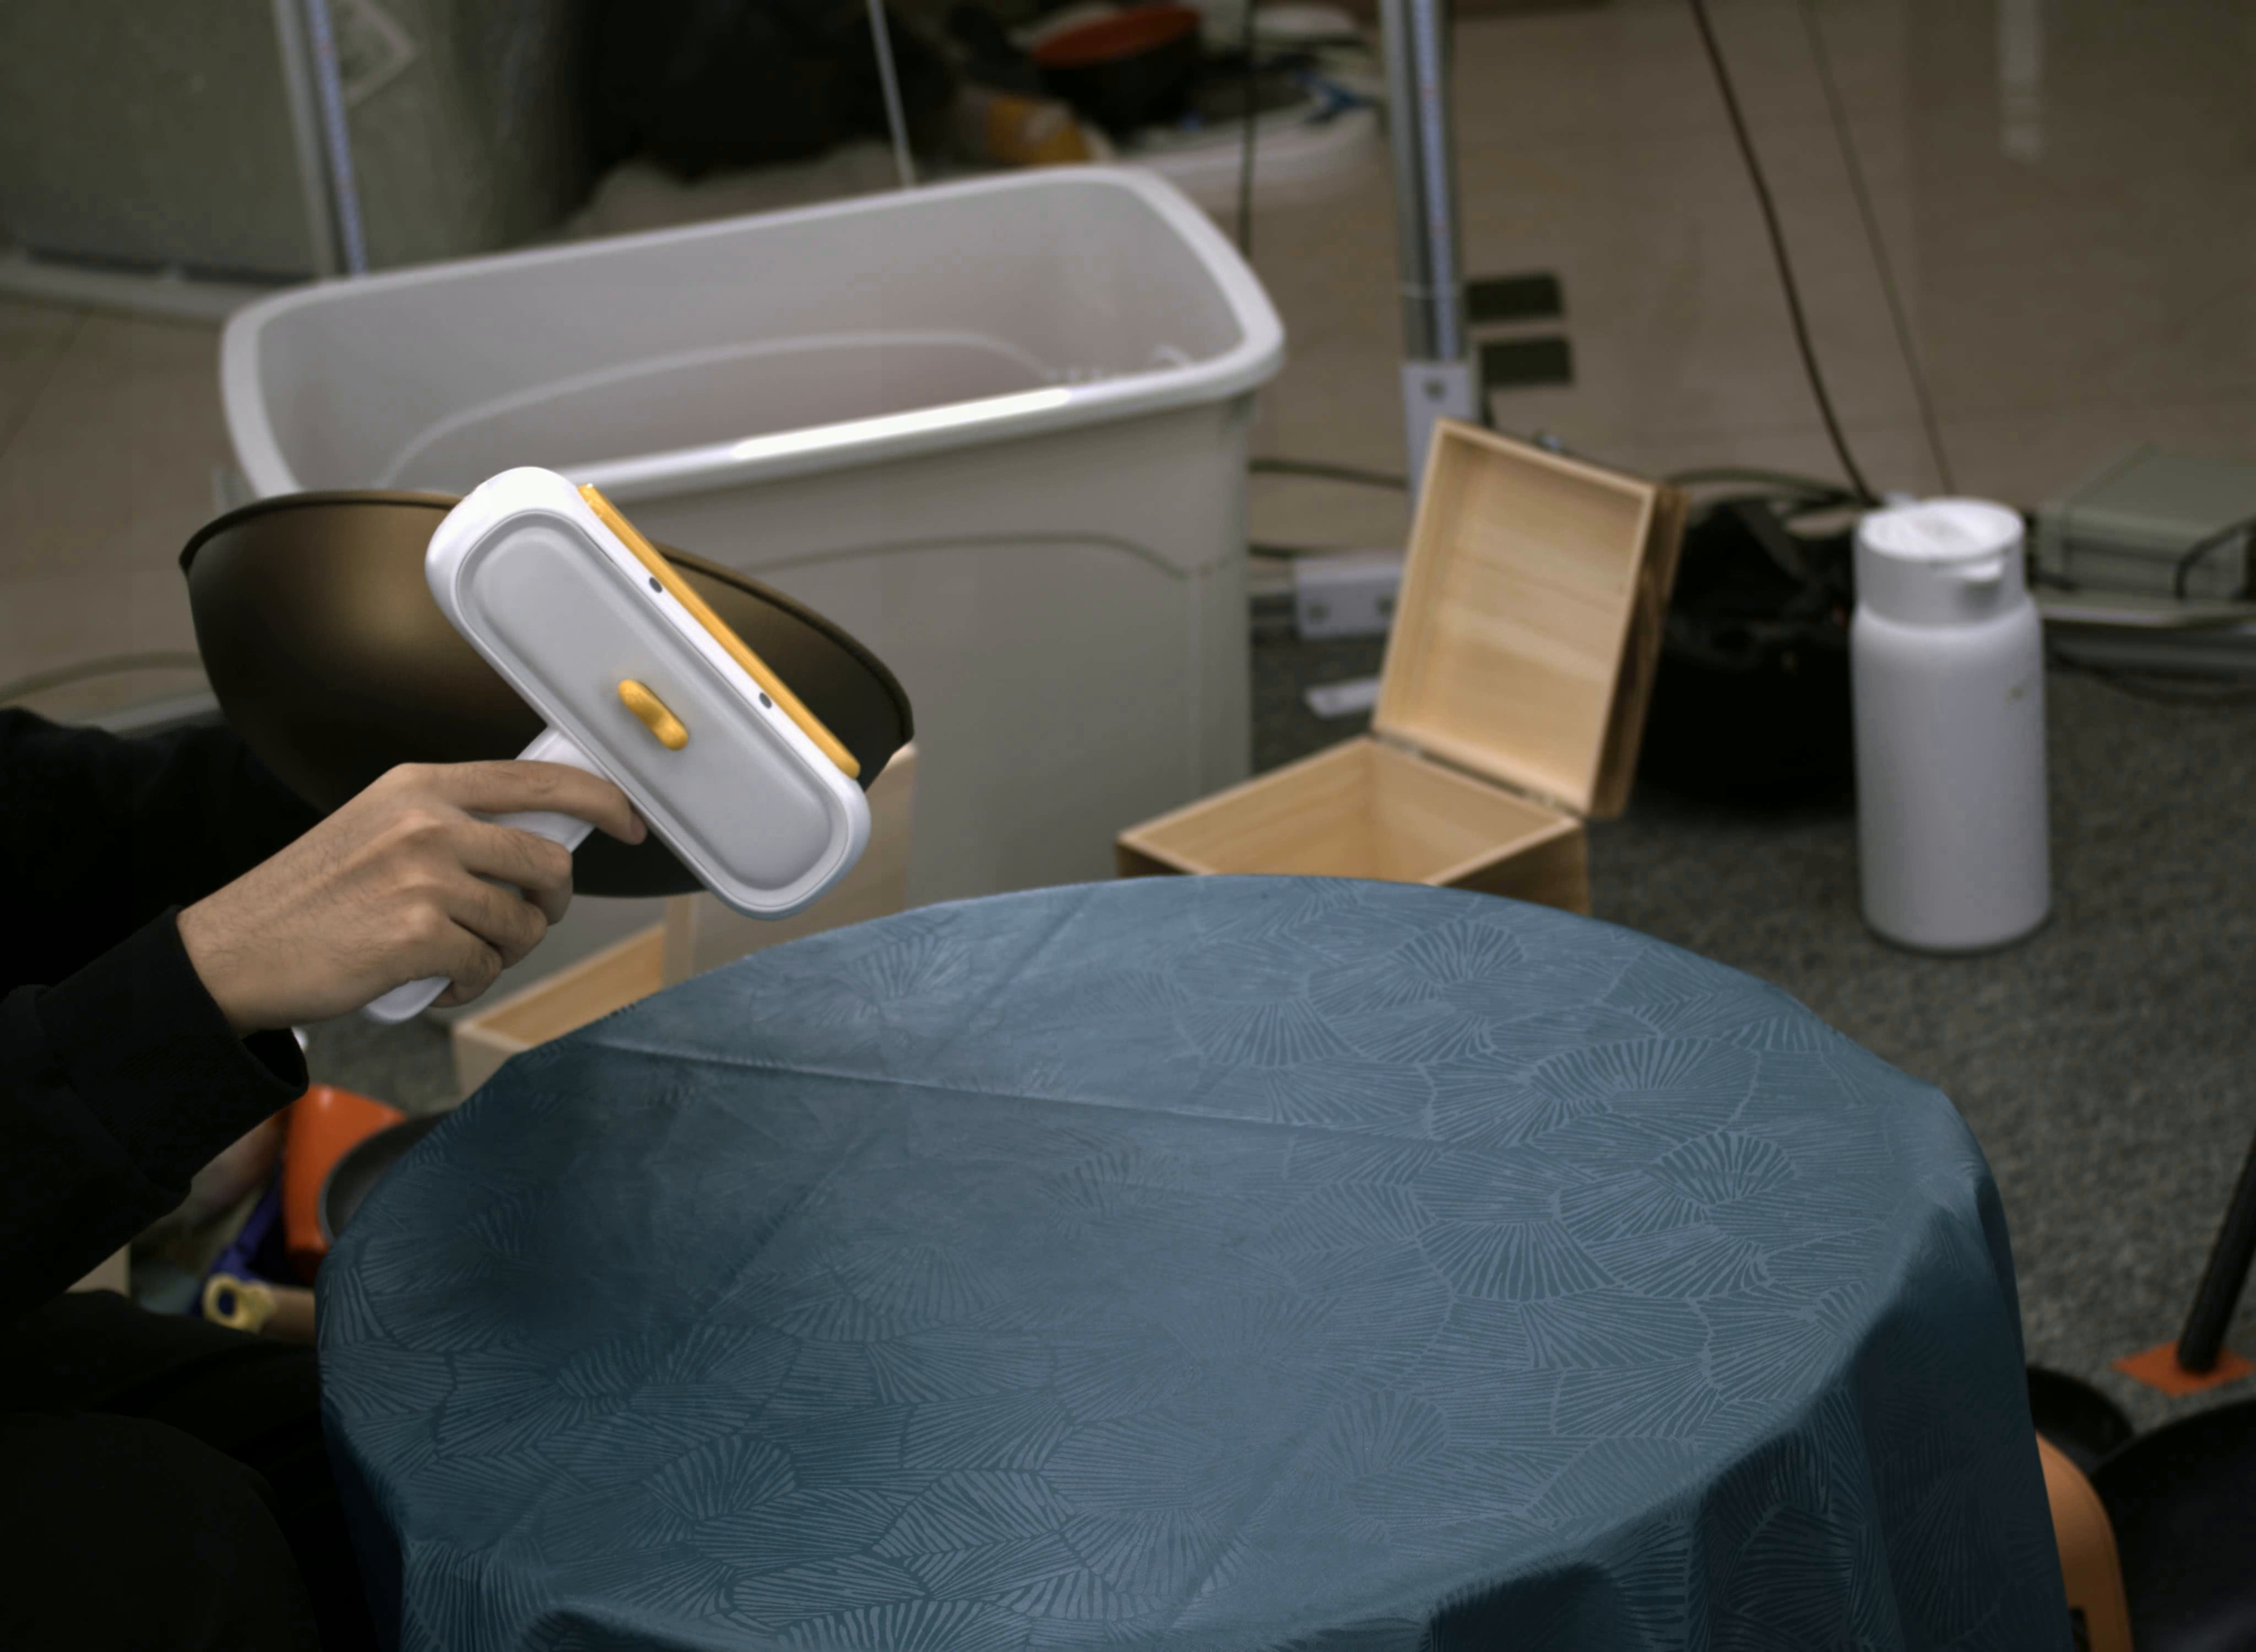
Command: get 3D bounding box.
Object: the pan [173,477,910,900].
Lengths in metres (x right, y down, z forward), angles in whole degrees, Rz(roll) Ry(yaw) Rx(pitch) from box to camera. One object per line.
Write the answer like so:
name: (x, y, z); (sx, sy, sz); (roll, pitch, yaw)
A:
pan: (-0.243, -0.013, 2.236); (0.288, 0.086, 0.468); (13, -18, -5)

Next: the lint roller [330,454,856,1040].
lint roller: (-0.213, -0.006, 2.002); (0.192, 0.194, 0.073); (-48, 21, -3)
